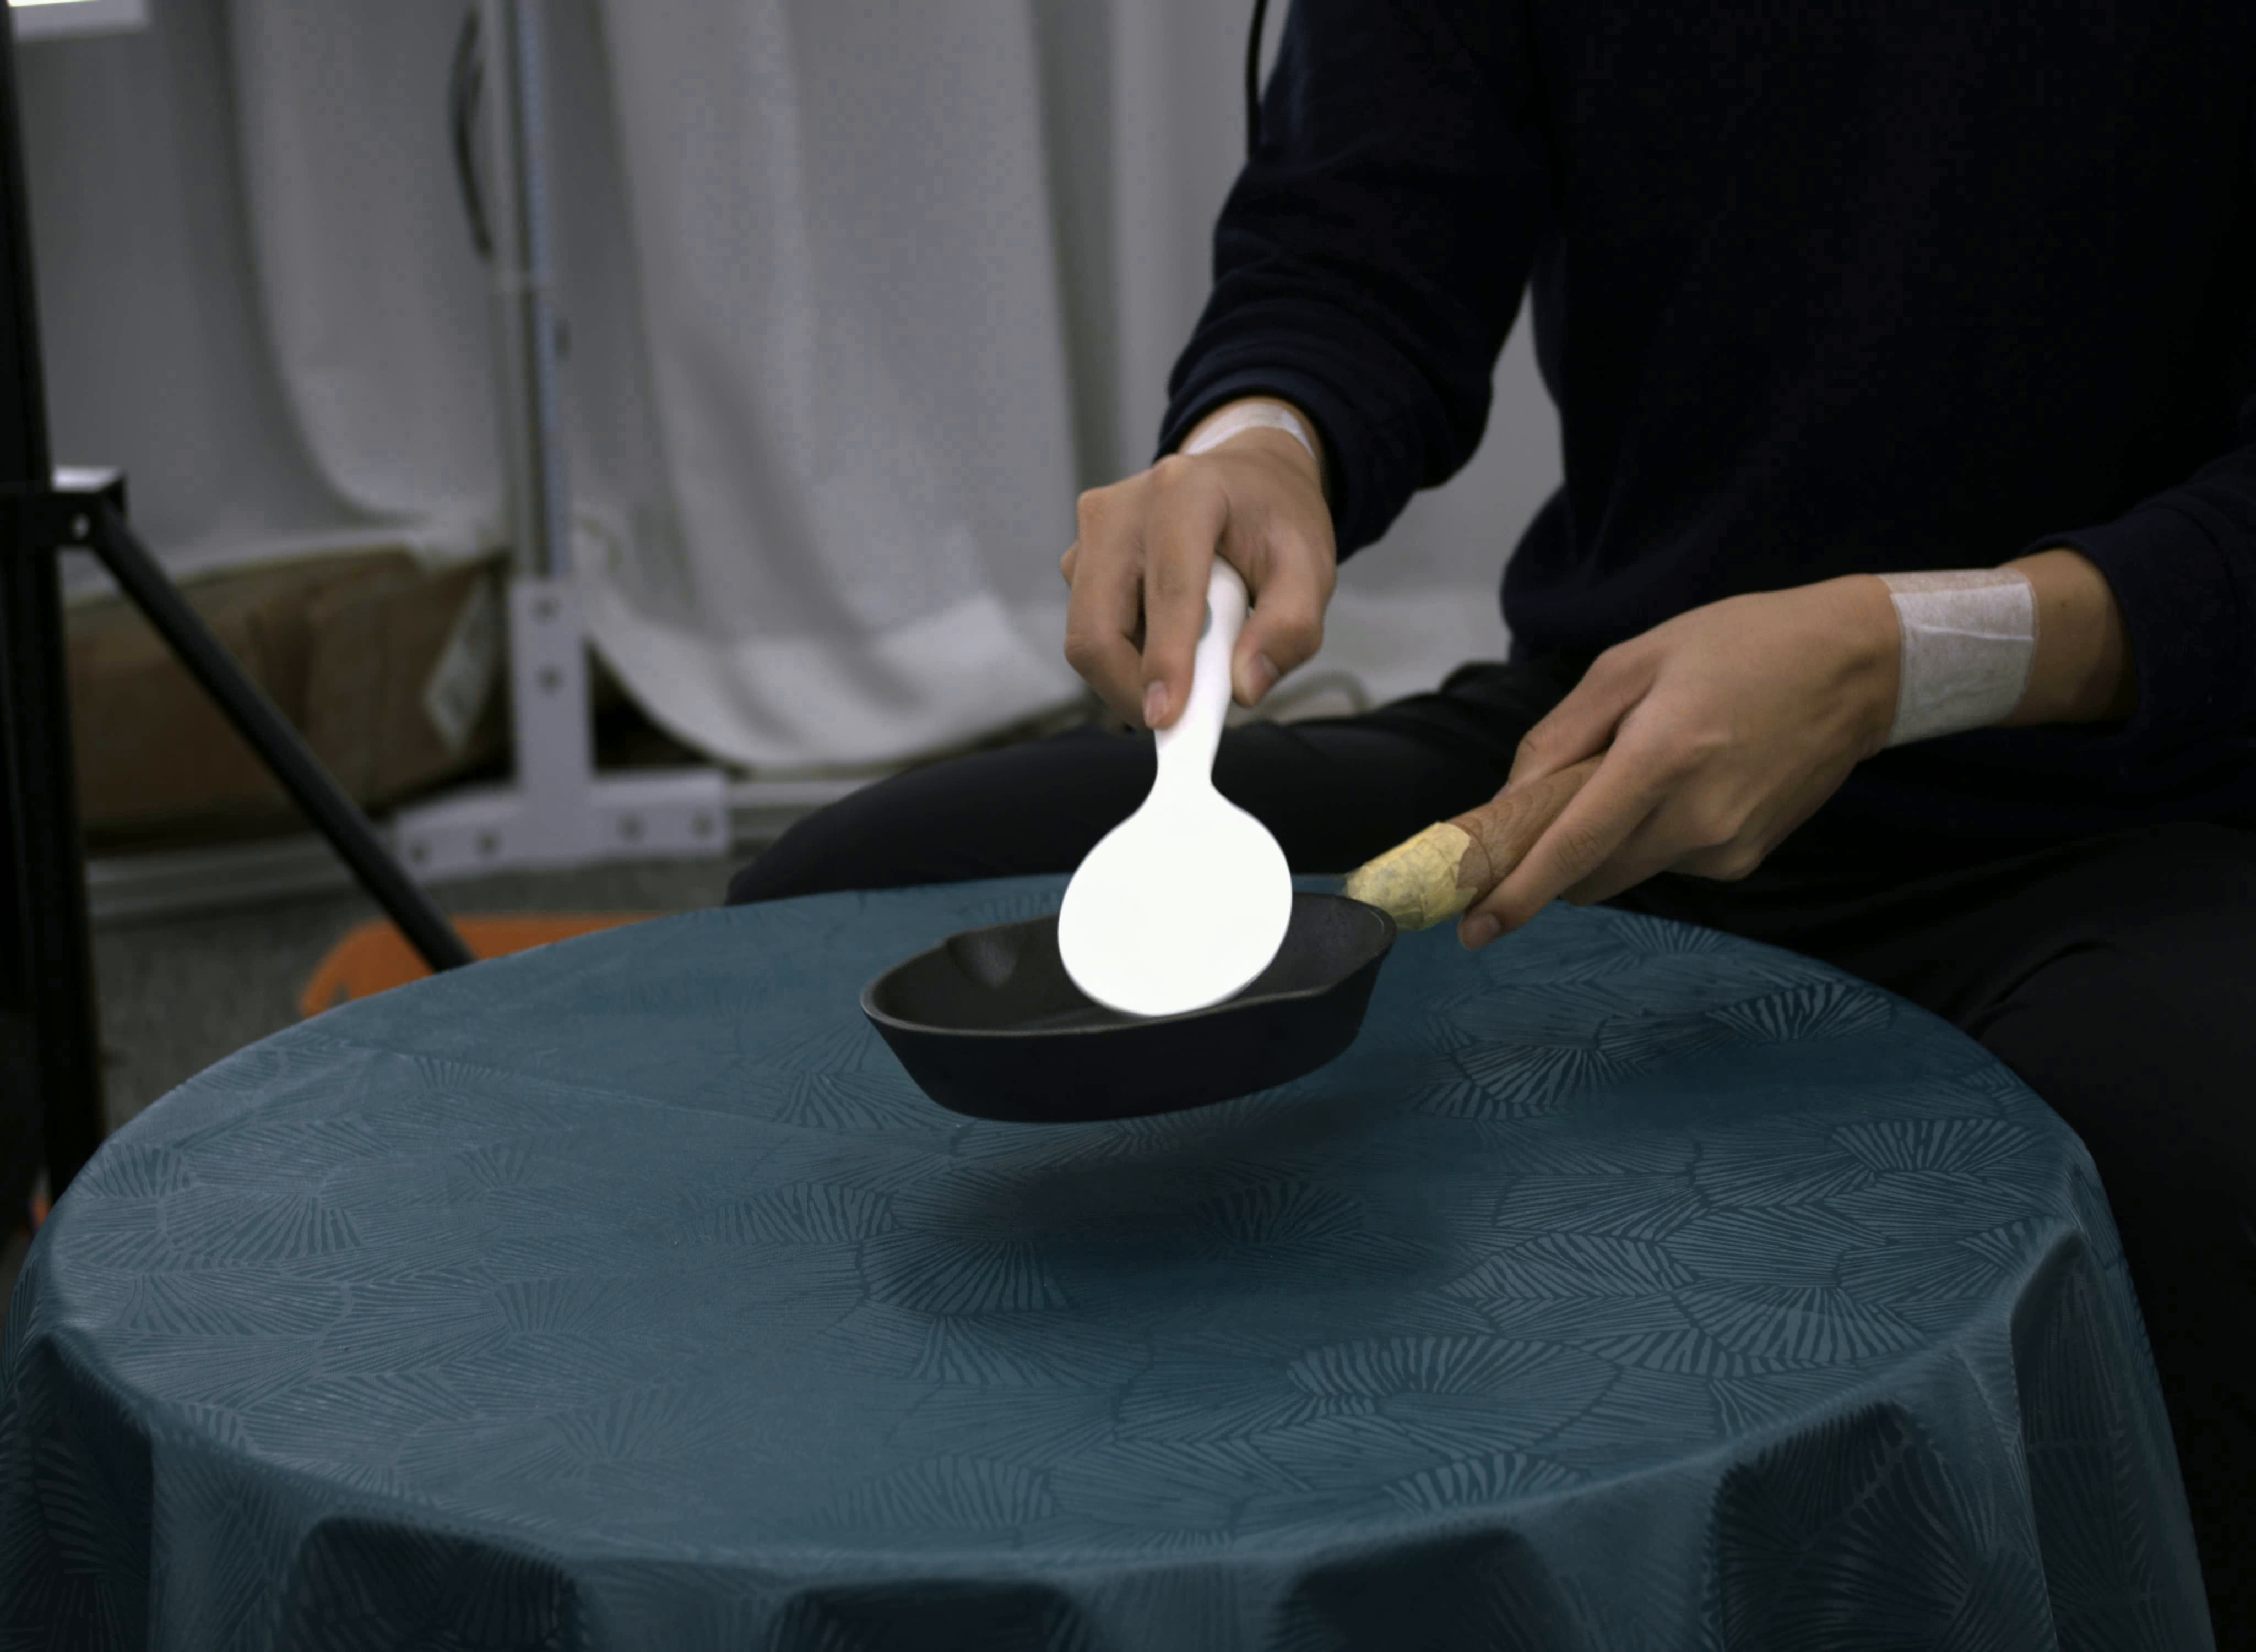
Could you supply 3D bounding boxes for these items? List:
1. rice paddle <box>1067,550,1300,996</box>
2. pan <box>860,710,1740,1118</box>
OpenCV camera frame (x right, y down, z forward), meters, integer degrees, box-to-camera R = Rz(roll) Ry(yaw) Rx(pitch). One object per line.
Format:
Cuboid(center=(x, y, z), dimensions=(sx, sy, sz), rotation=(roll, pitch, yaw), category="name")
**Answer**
Cuboid(center=(0.019, -0.010, 1.576), dimensions=(0.069, 0.029, 0.207), rotation=(-8, 38, 10), category="rice paddle")
Cuboid(center=(0.067, 0.025, 1.585), dimensions=(0.317, 0.049, 0.172), rotation=(-17, 15, -32), category="pan")
